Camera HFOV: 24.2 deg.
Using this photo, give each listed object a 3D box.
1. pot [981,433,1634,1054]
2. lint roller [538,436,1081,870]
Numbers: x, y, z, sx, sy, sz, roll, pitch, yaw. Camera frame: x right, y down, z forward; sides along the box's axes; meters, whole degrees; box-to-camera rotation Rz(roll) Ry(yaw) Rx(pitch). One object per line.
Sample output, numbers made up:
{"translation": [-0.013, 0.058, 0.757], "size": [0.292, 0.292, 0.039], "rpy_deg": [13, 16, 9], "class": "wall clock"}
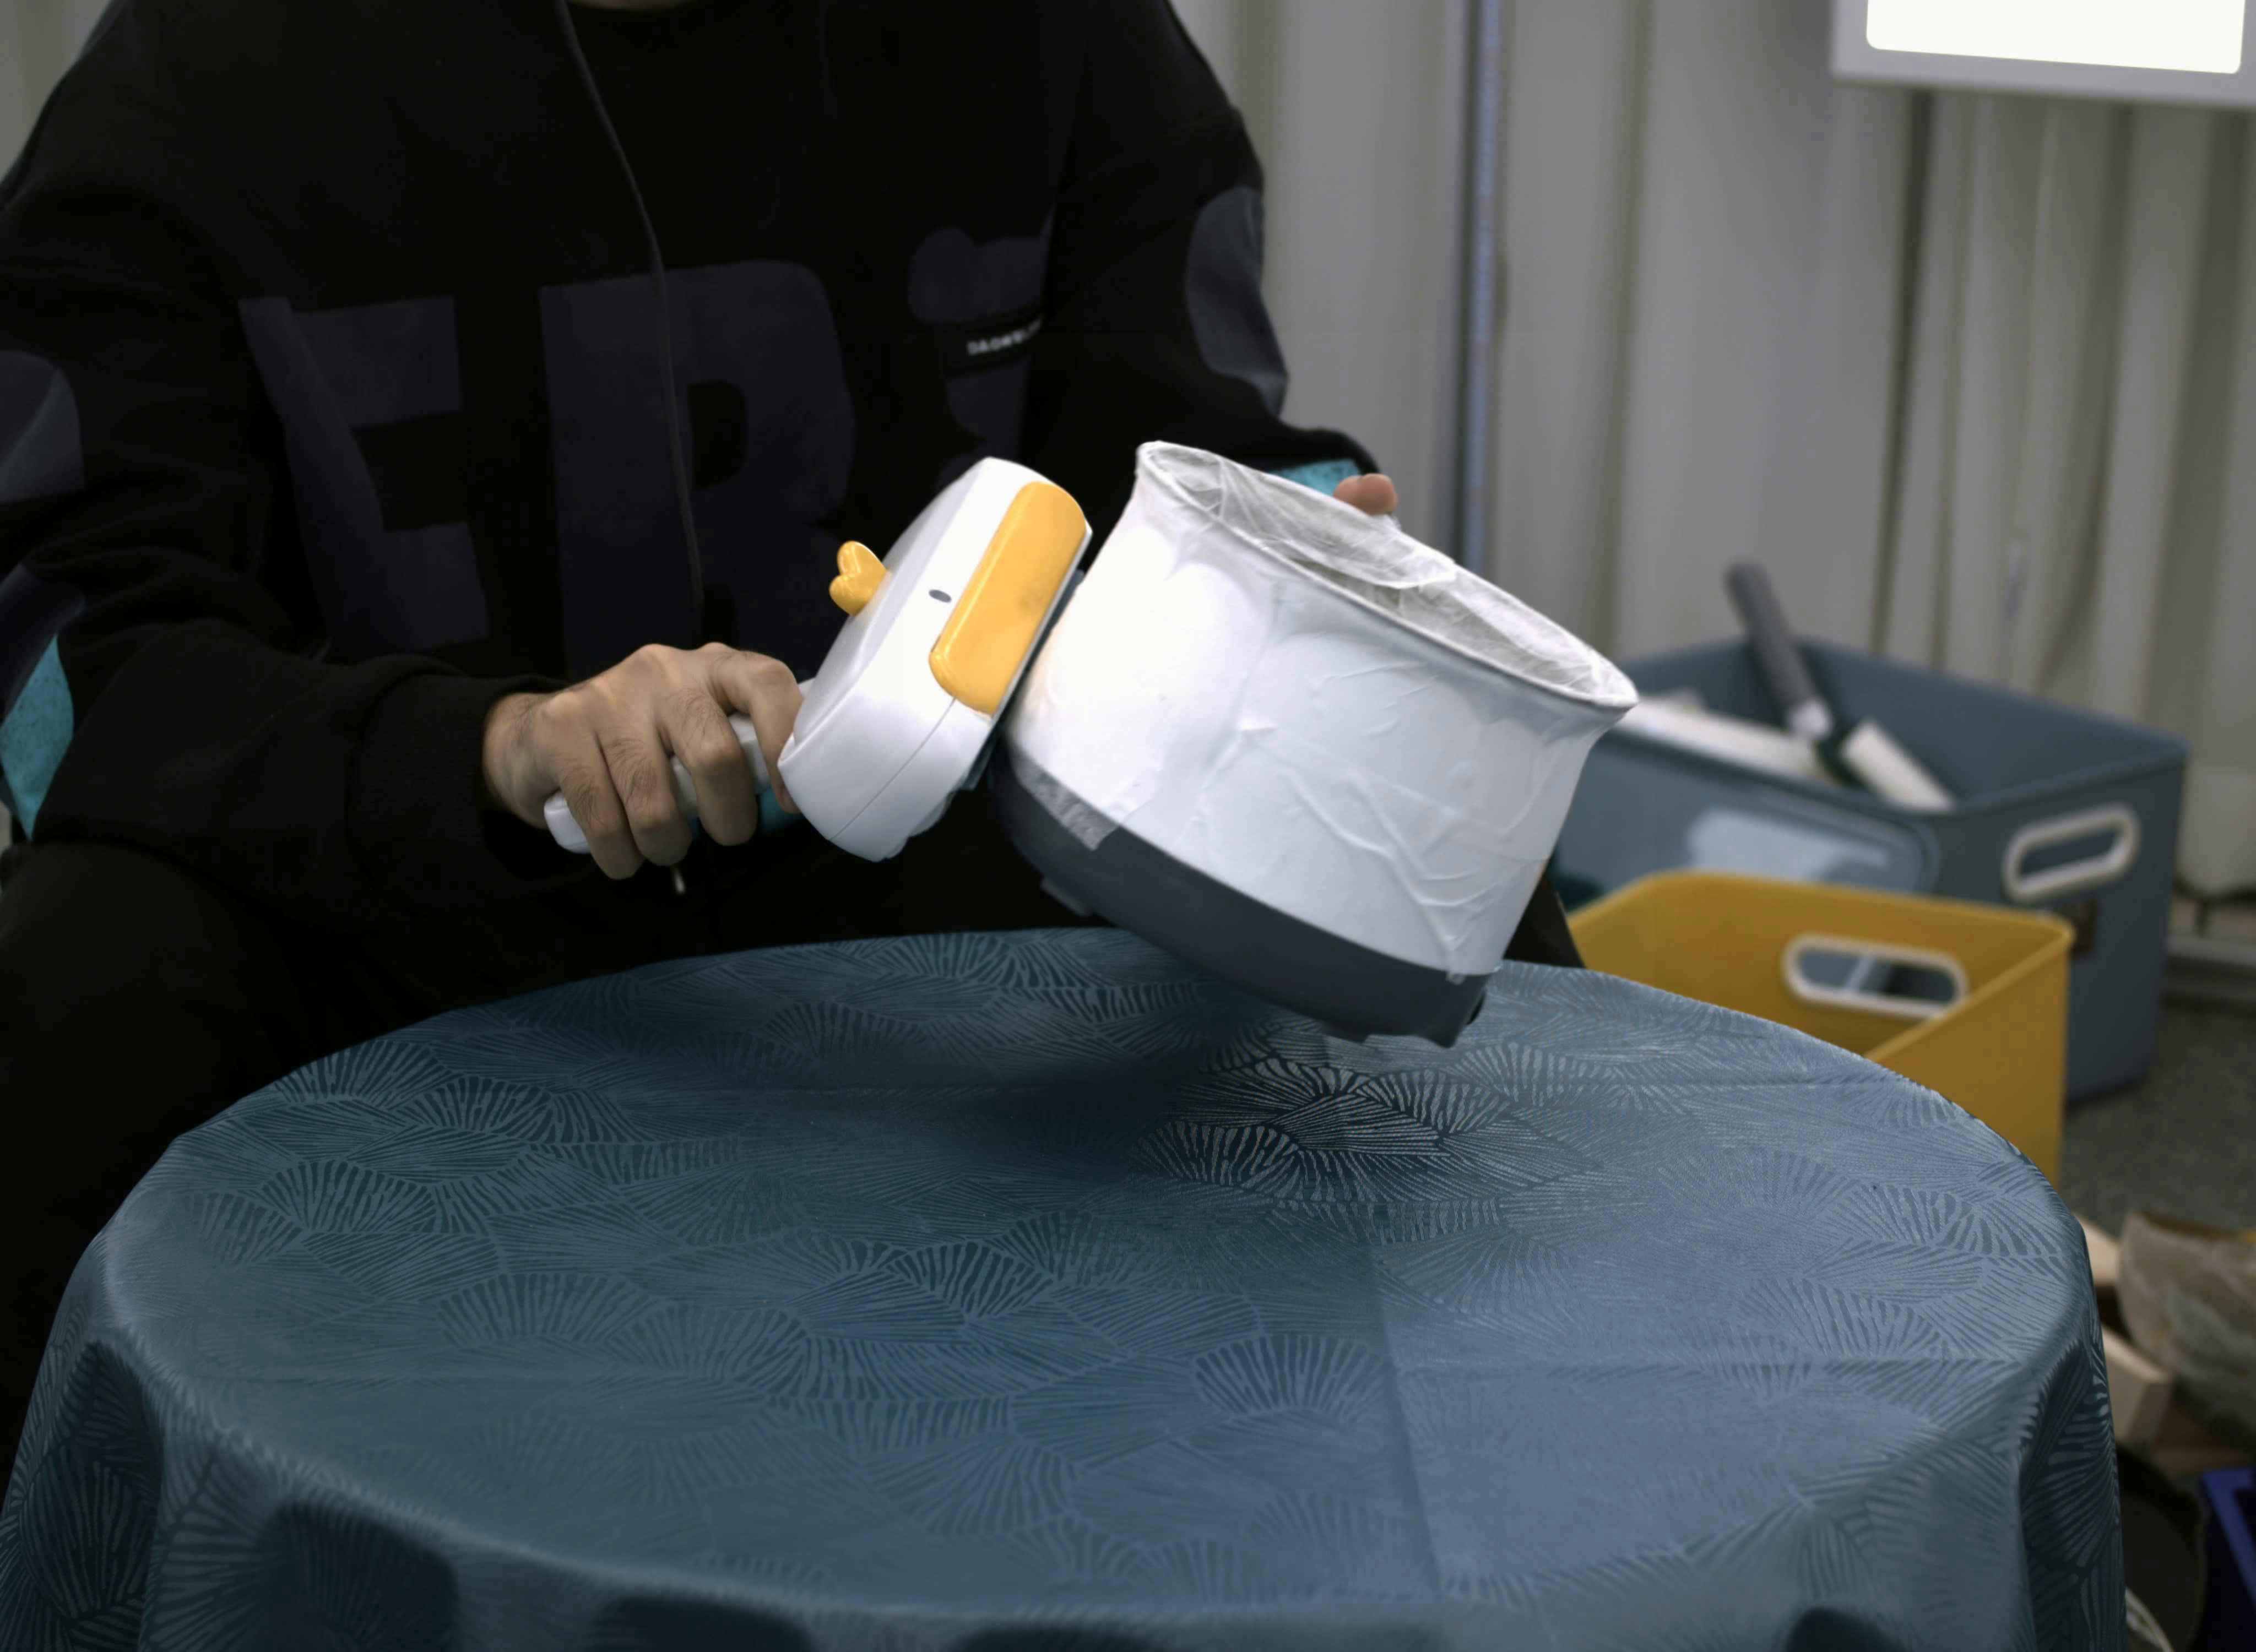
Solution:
{"translation": [0.052, -0.031, 1.691], "size": [0.179, 0.137, 0.232], "rpy_deg": [28, 12, -6], "class": "pot"}
{"translation": [-0.107, -0.035, 1.712], "size": [0.192, 0.075, 0.191], "rpy_deg": [-36, 20, 24], "class": "lint roller"}
